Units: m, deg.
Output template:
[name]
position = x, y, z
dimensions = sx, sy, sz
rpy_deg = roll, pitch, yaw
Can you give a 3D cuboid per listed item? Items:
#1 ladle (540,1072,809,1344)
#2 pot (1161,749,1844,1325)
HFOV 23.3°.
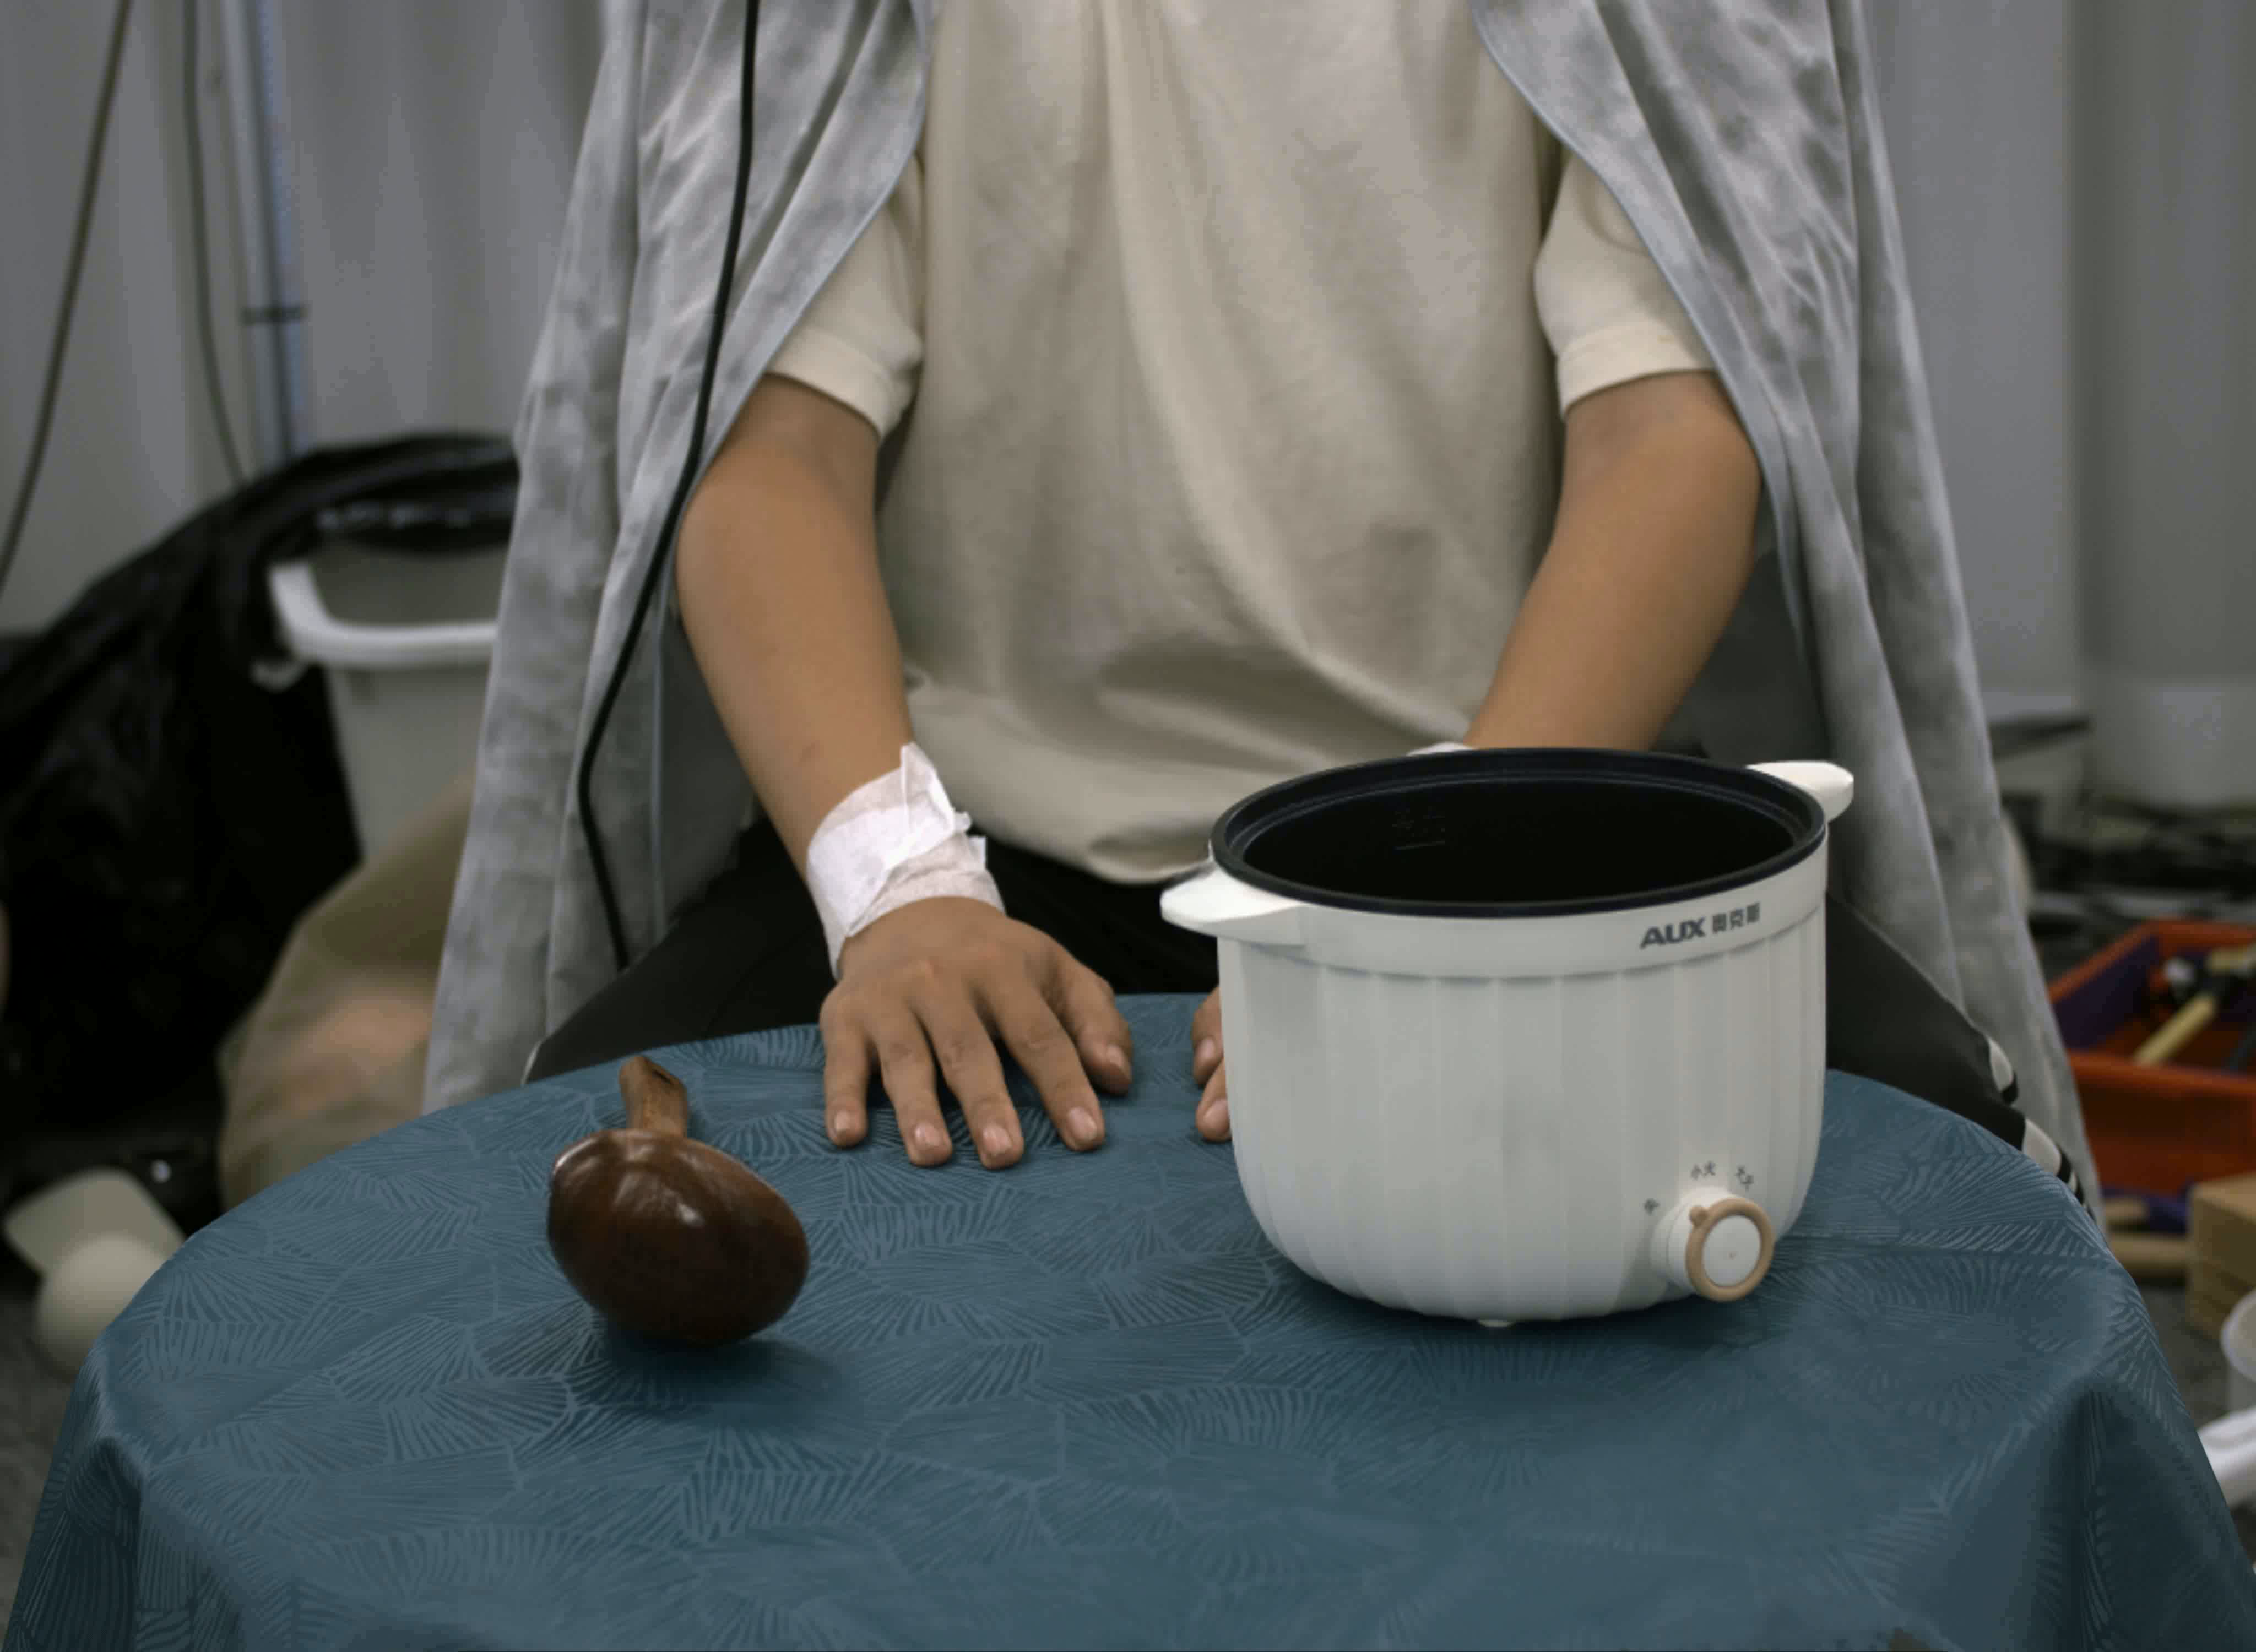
[ladle]
position = -0.135, 0.095, 1.686
dimensions = 0.081, 0.076, 0.276
rpy_deg = 38, 10, -8
[pot]
position = 0.121, 0.064, 1.620
dimensions = 0.239, 0.142, 0.191
rpy_deg = -12, 14, -30
